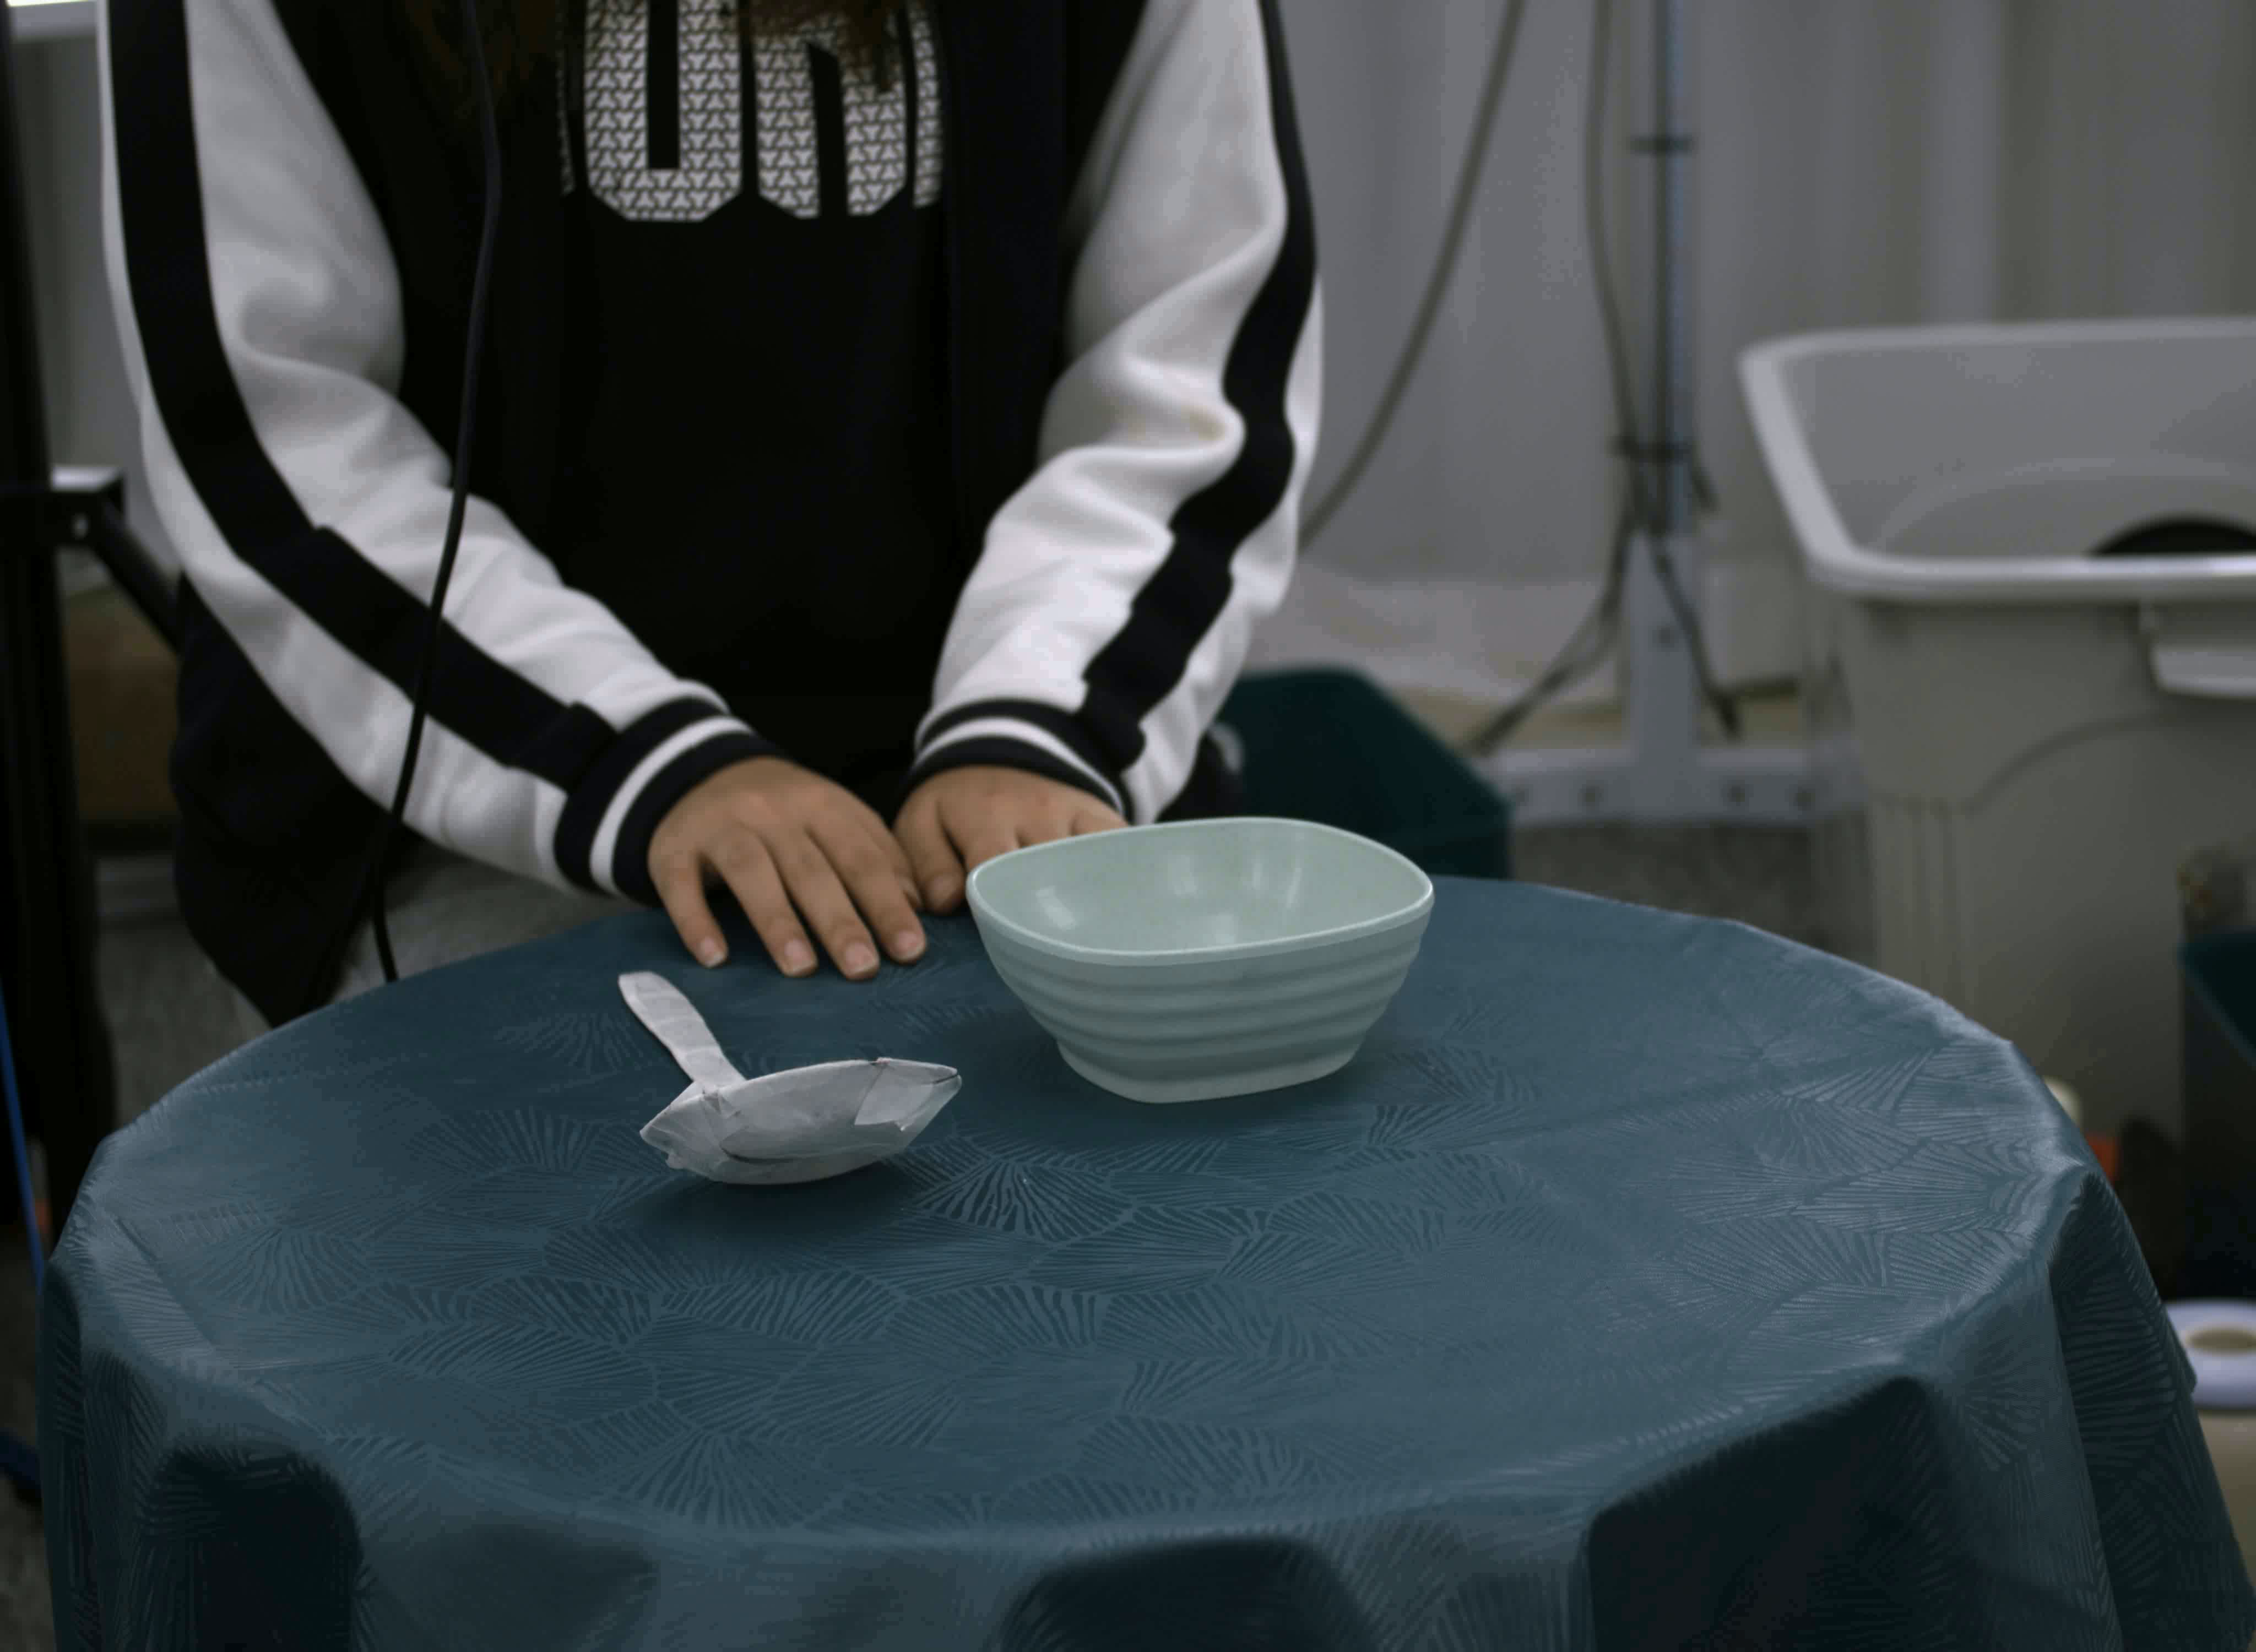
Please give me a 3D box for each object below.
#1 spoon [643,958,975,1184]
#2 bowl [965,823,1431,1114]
[{"bbox_3d":[-0.115,0.058,1.651,0.099,0.059,0.281,-1,15,-13],"label":"spoon"},{"bbox_3d":[0.022,0.048,1.672,0.150,0.058,0.152,-3,16,-1],"label":"bowl"}]
